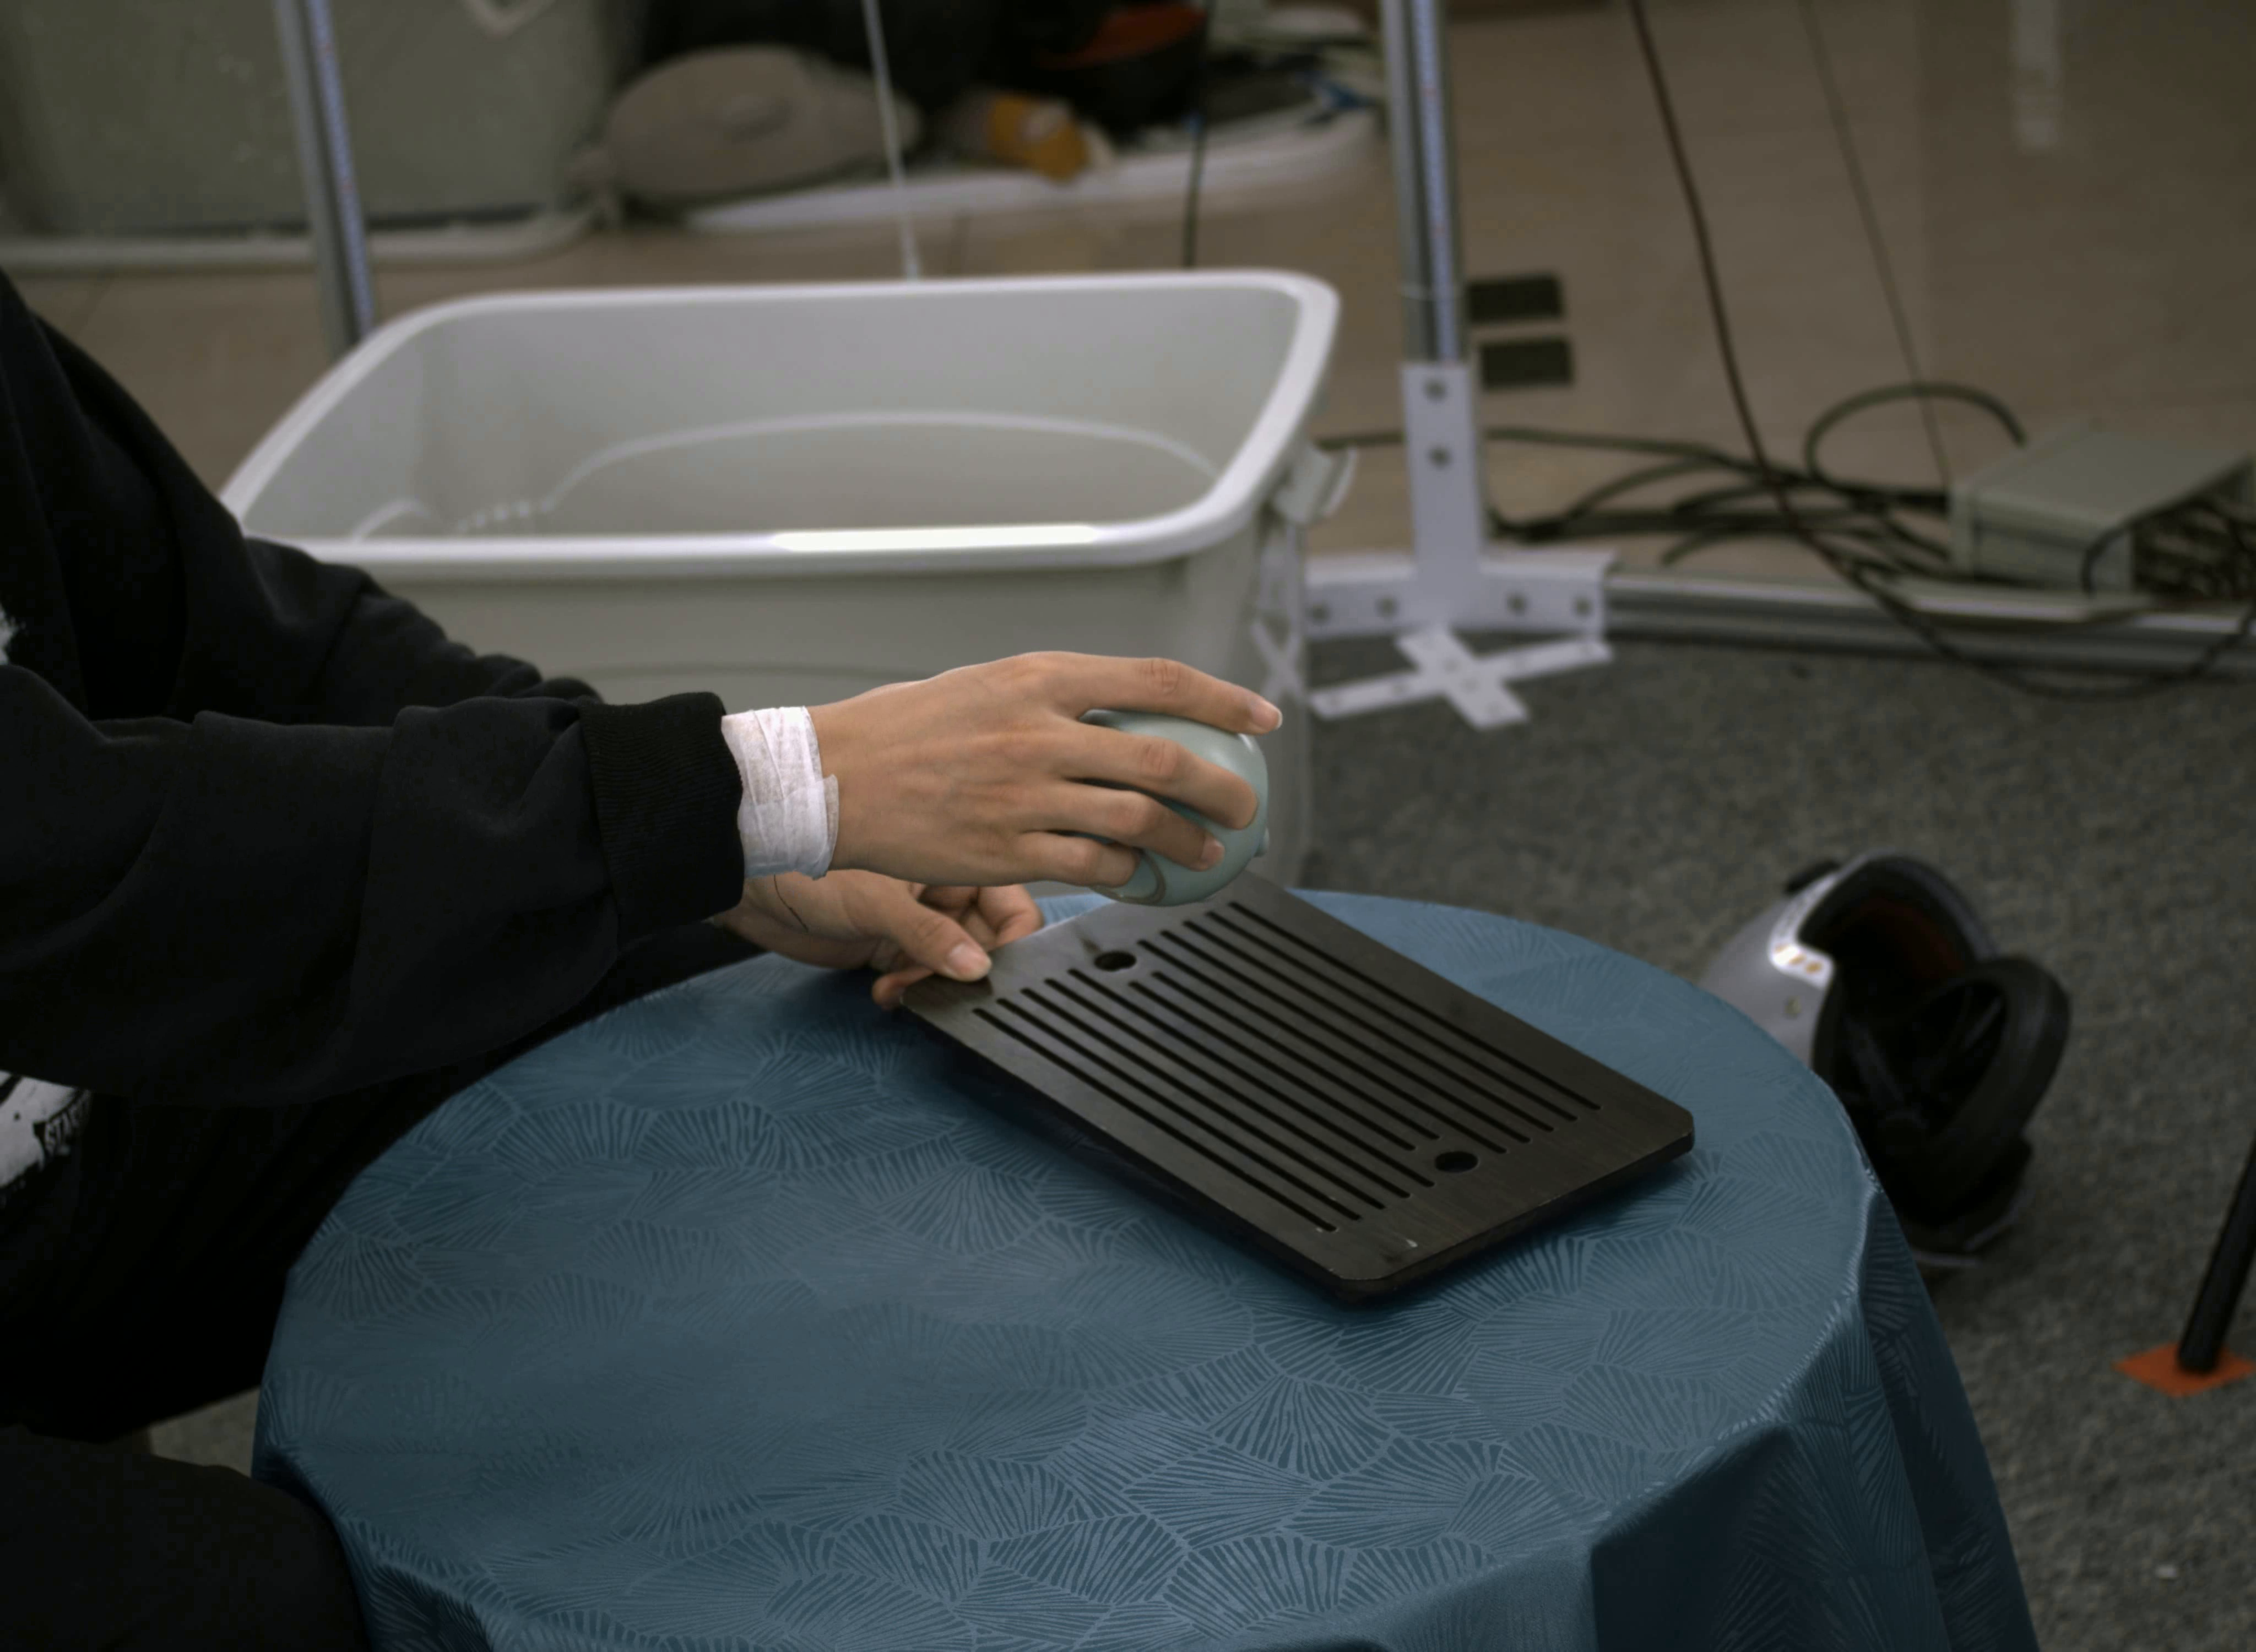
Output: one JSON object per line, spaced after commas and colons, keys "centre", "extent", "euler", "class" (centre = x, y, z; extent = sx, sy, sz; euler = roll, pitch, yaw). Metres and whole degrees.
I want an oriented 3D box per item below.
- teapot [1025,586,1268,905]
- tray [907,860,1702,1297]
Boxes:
{"centre": [0.007, -0.014, 2.035], "extent": [0.088, 0.146, 0.074], "euler": [5, 52, 36], "class": "teapot"}
{"centre": [0.064, 0.094, 2.192], "extent": [0.169, 0.019, 0.302], "euler": [-22, 32, -30], "class": "tray"}
